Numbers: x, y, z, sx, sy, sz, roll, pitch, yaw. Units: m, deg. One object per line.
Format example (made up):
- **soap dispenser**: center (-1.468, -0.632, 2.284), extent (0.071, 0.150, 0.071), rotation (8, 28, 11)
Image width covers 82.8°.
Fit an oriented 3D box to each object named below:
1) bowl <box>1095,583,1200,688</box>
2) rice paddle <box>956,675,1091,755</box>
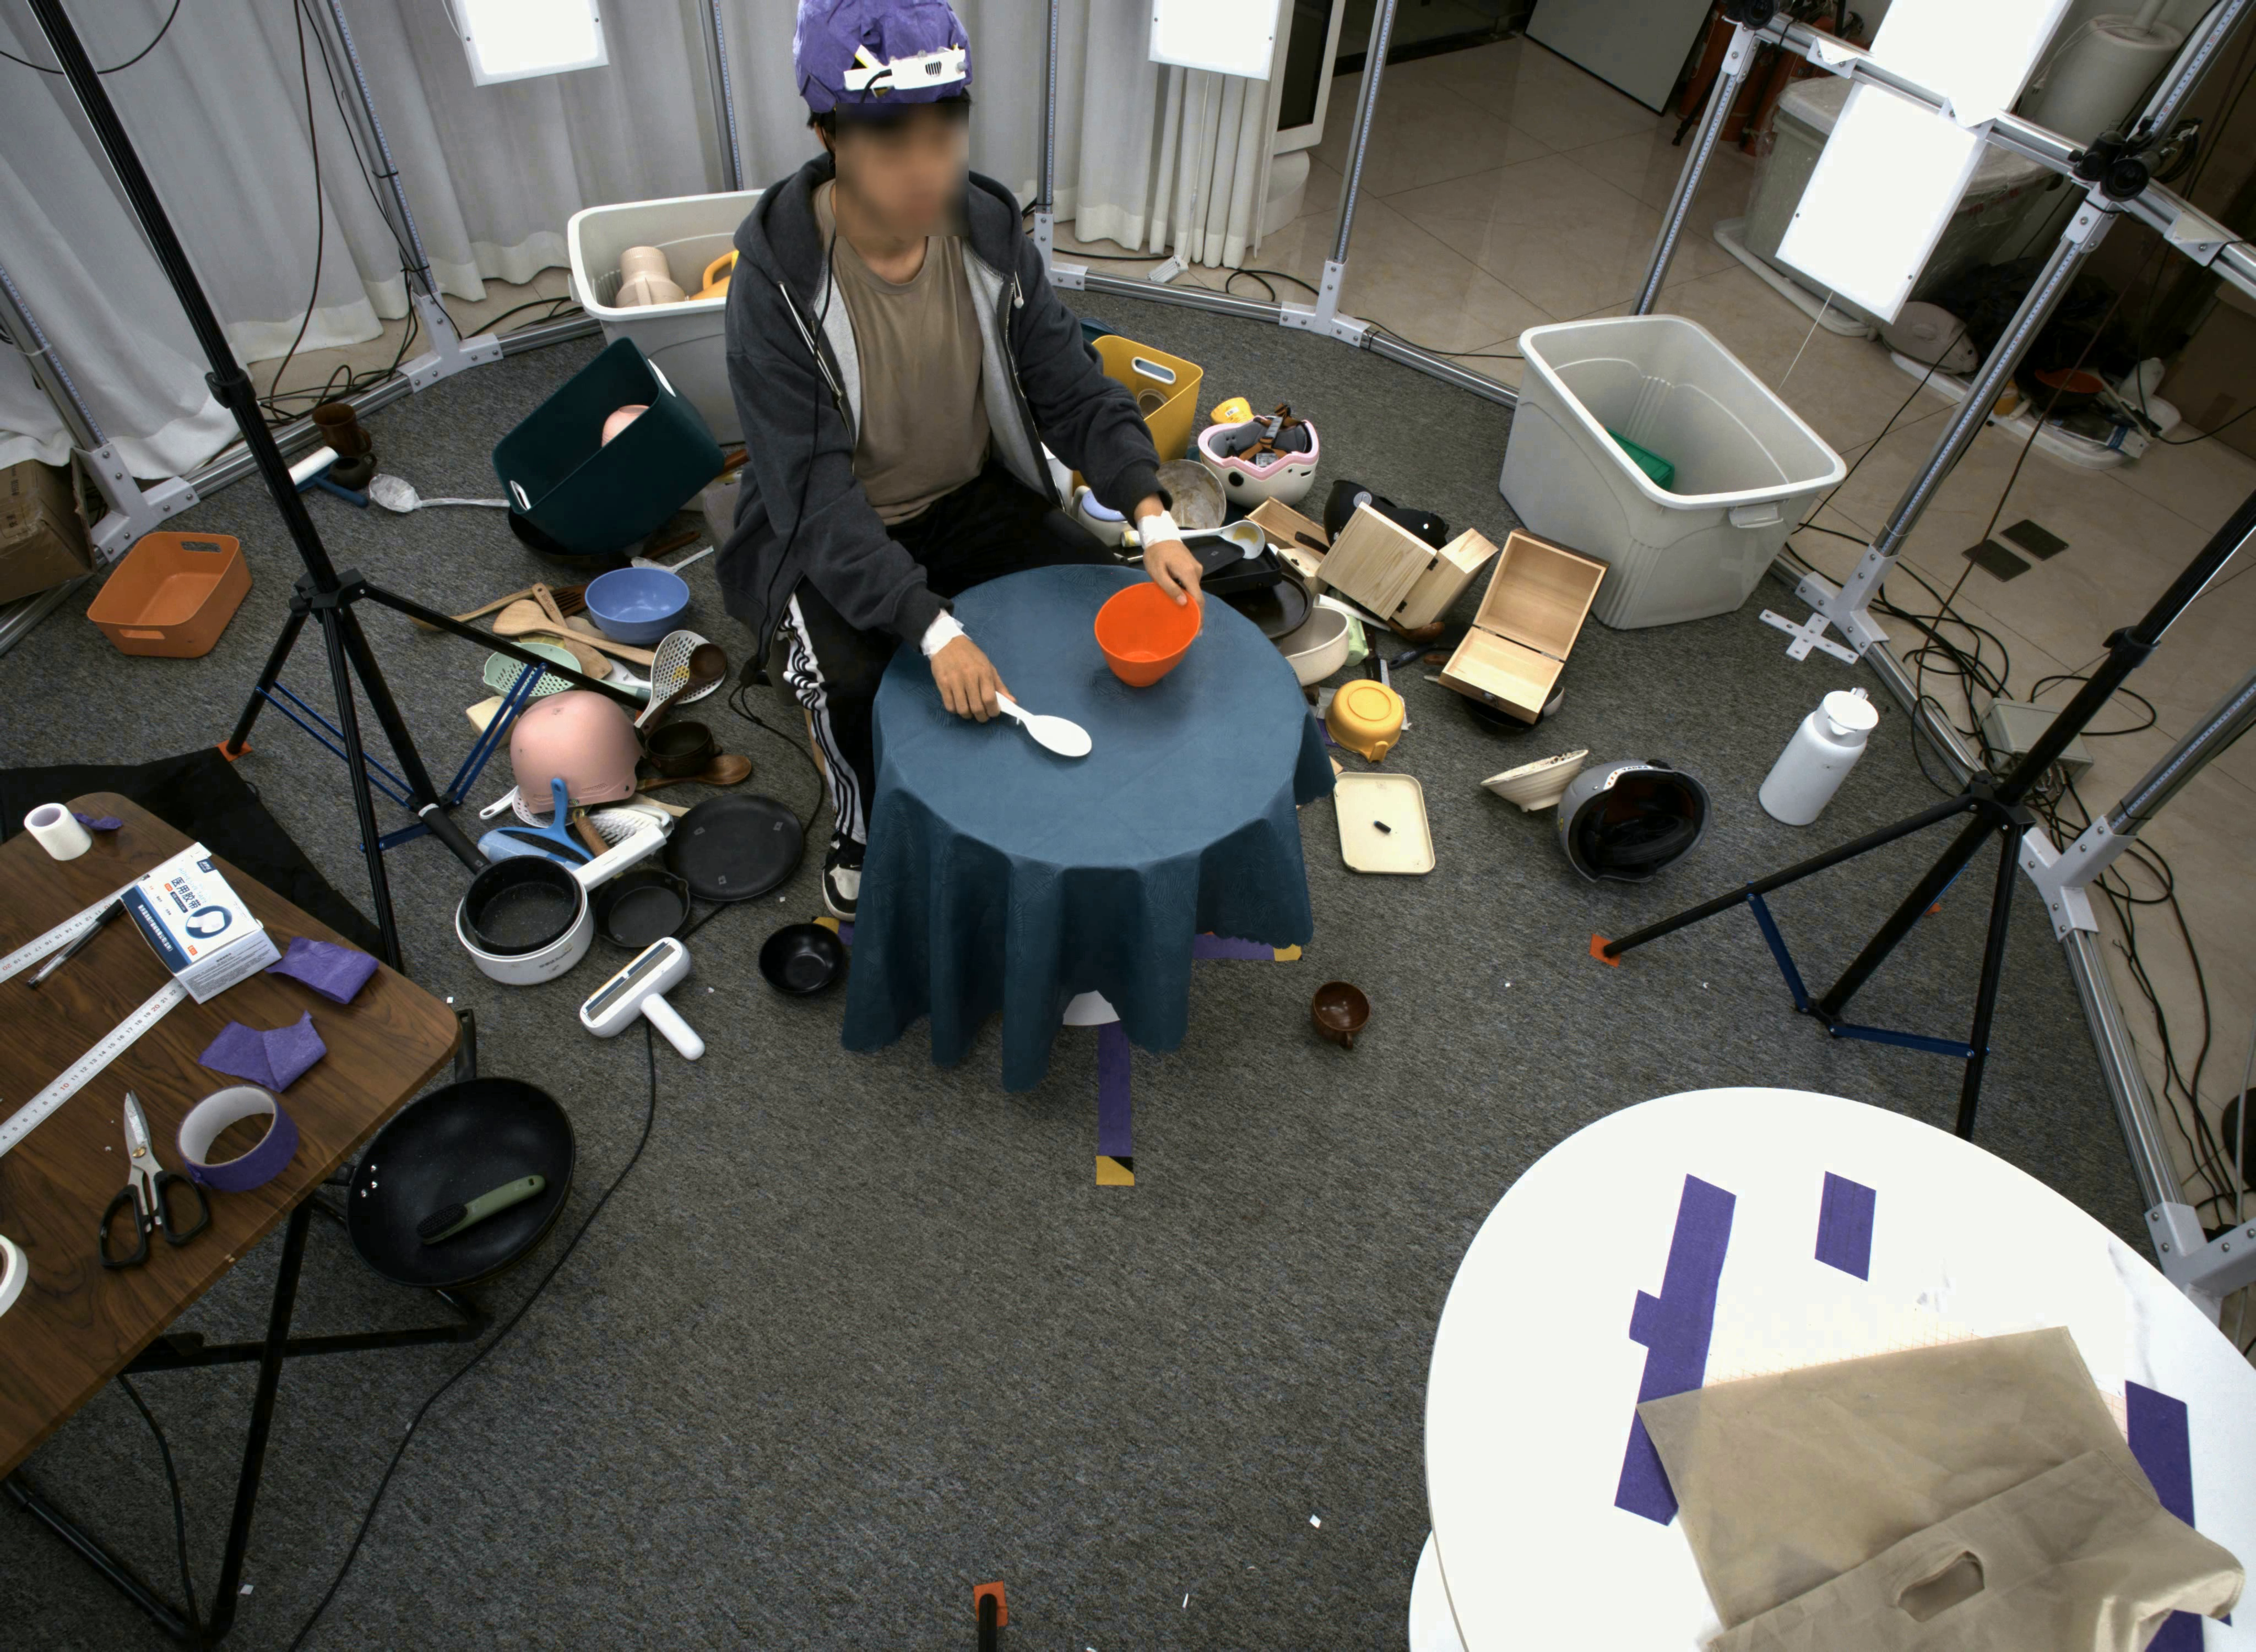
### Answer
- **bowl**: center (0.028, -0.260, 1.827), extent (0.148, 0.102, 0.151), rotation (0, 51, 0)
- **rice paddle**: center (-0.142, -0.151, 1.763), extent (0.206, 0.029, 0.070), rotation (27, 47, 14)
